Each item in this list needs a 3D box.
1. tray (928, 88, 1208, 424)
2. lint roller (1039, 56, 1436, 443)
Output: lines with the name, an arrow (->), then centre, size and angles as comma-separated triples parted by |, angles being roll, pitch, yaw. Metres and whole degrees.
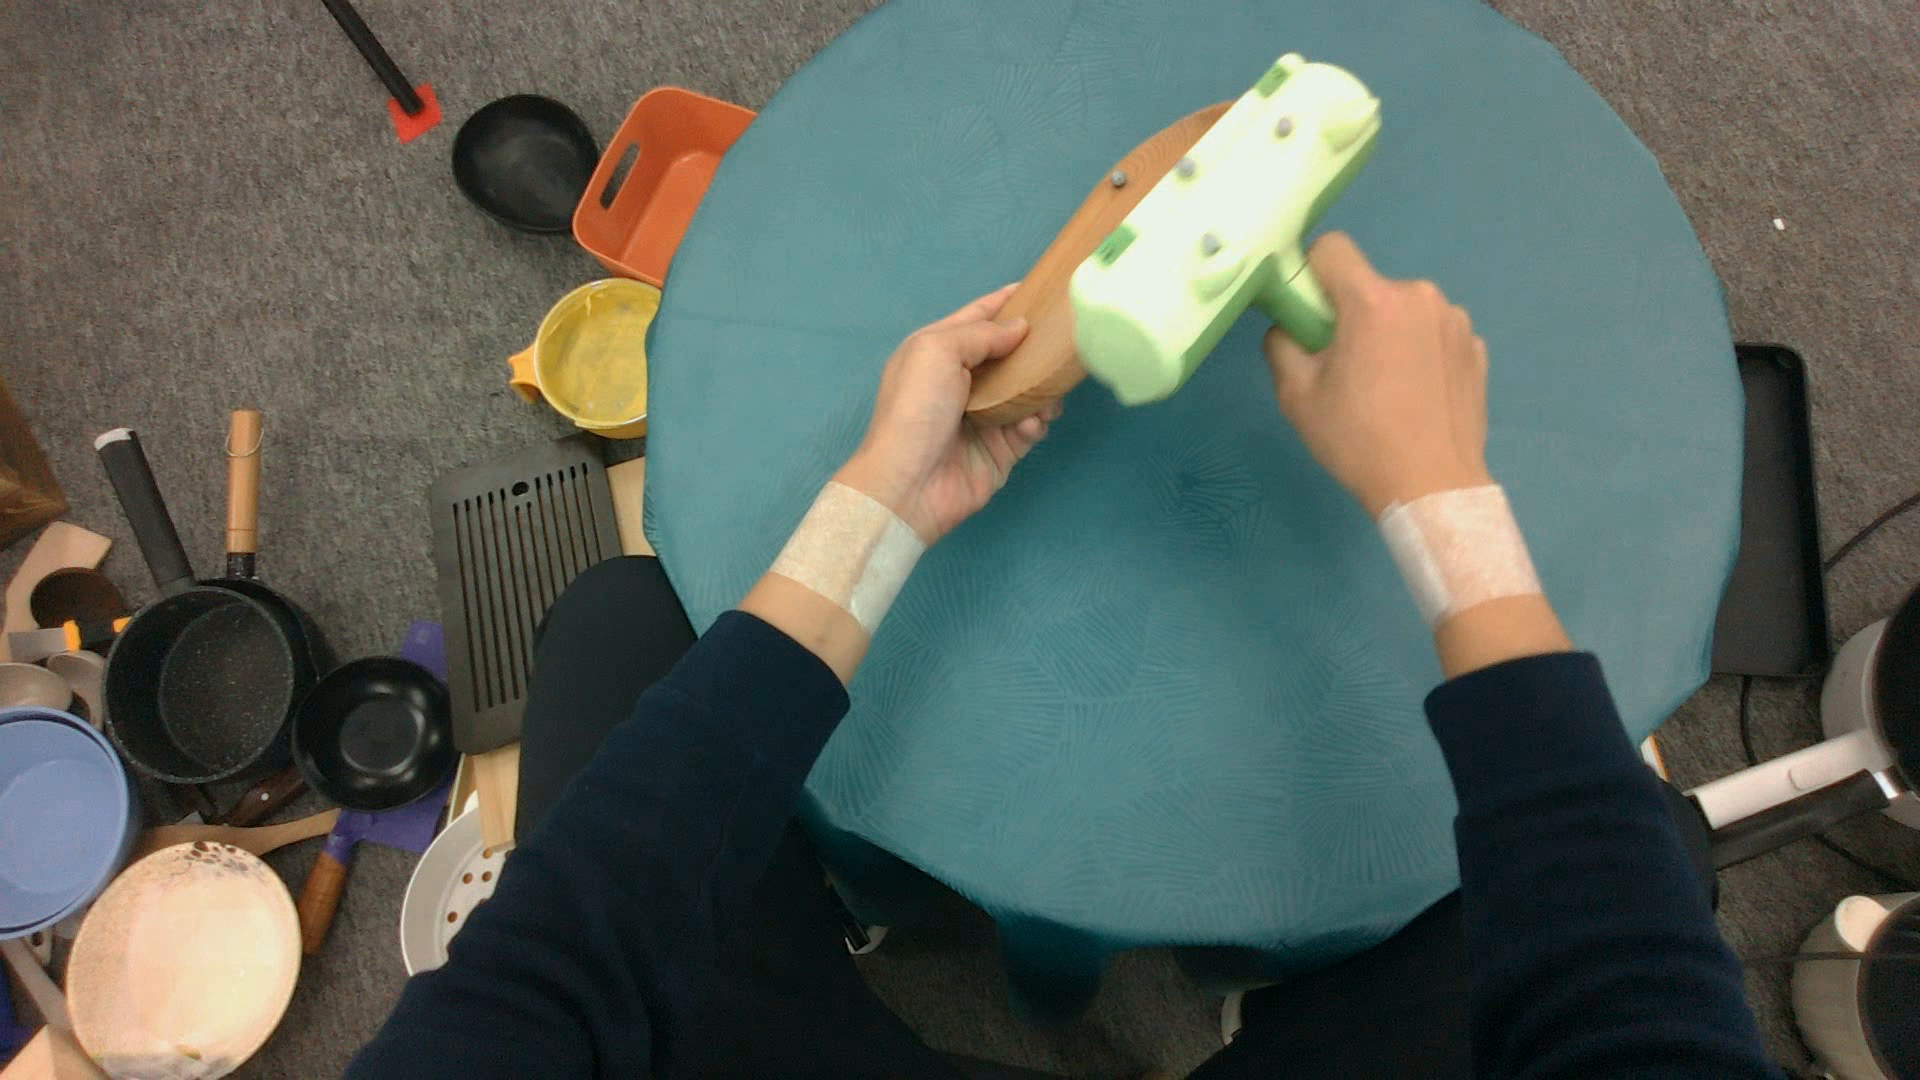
tray -> 0.059, -0.144, 0.682 | 0.020, 0.101, 0.232 | 44, 61, -25
lint roller -> 0.154, -0.115, 0.619 | 0.183, 0.082, 0.199 | 36, 61, 2
